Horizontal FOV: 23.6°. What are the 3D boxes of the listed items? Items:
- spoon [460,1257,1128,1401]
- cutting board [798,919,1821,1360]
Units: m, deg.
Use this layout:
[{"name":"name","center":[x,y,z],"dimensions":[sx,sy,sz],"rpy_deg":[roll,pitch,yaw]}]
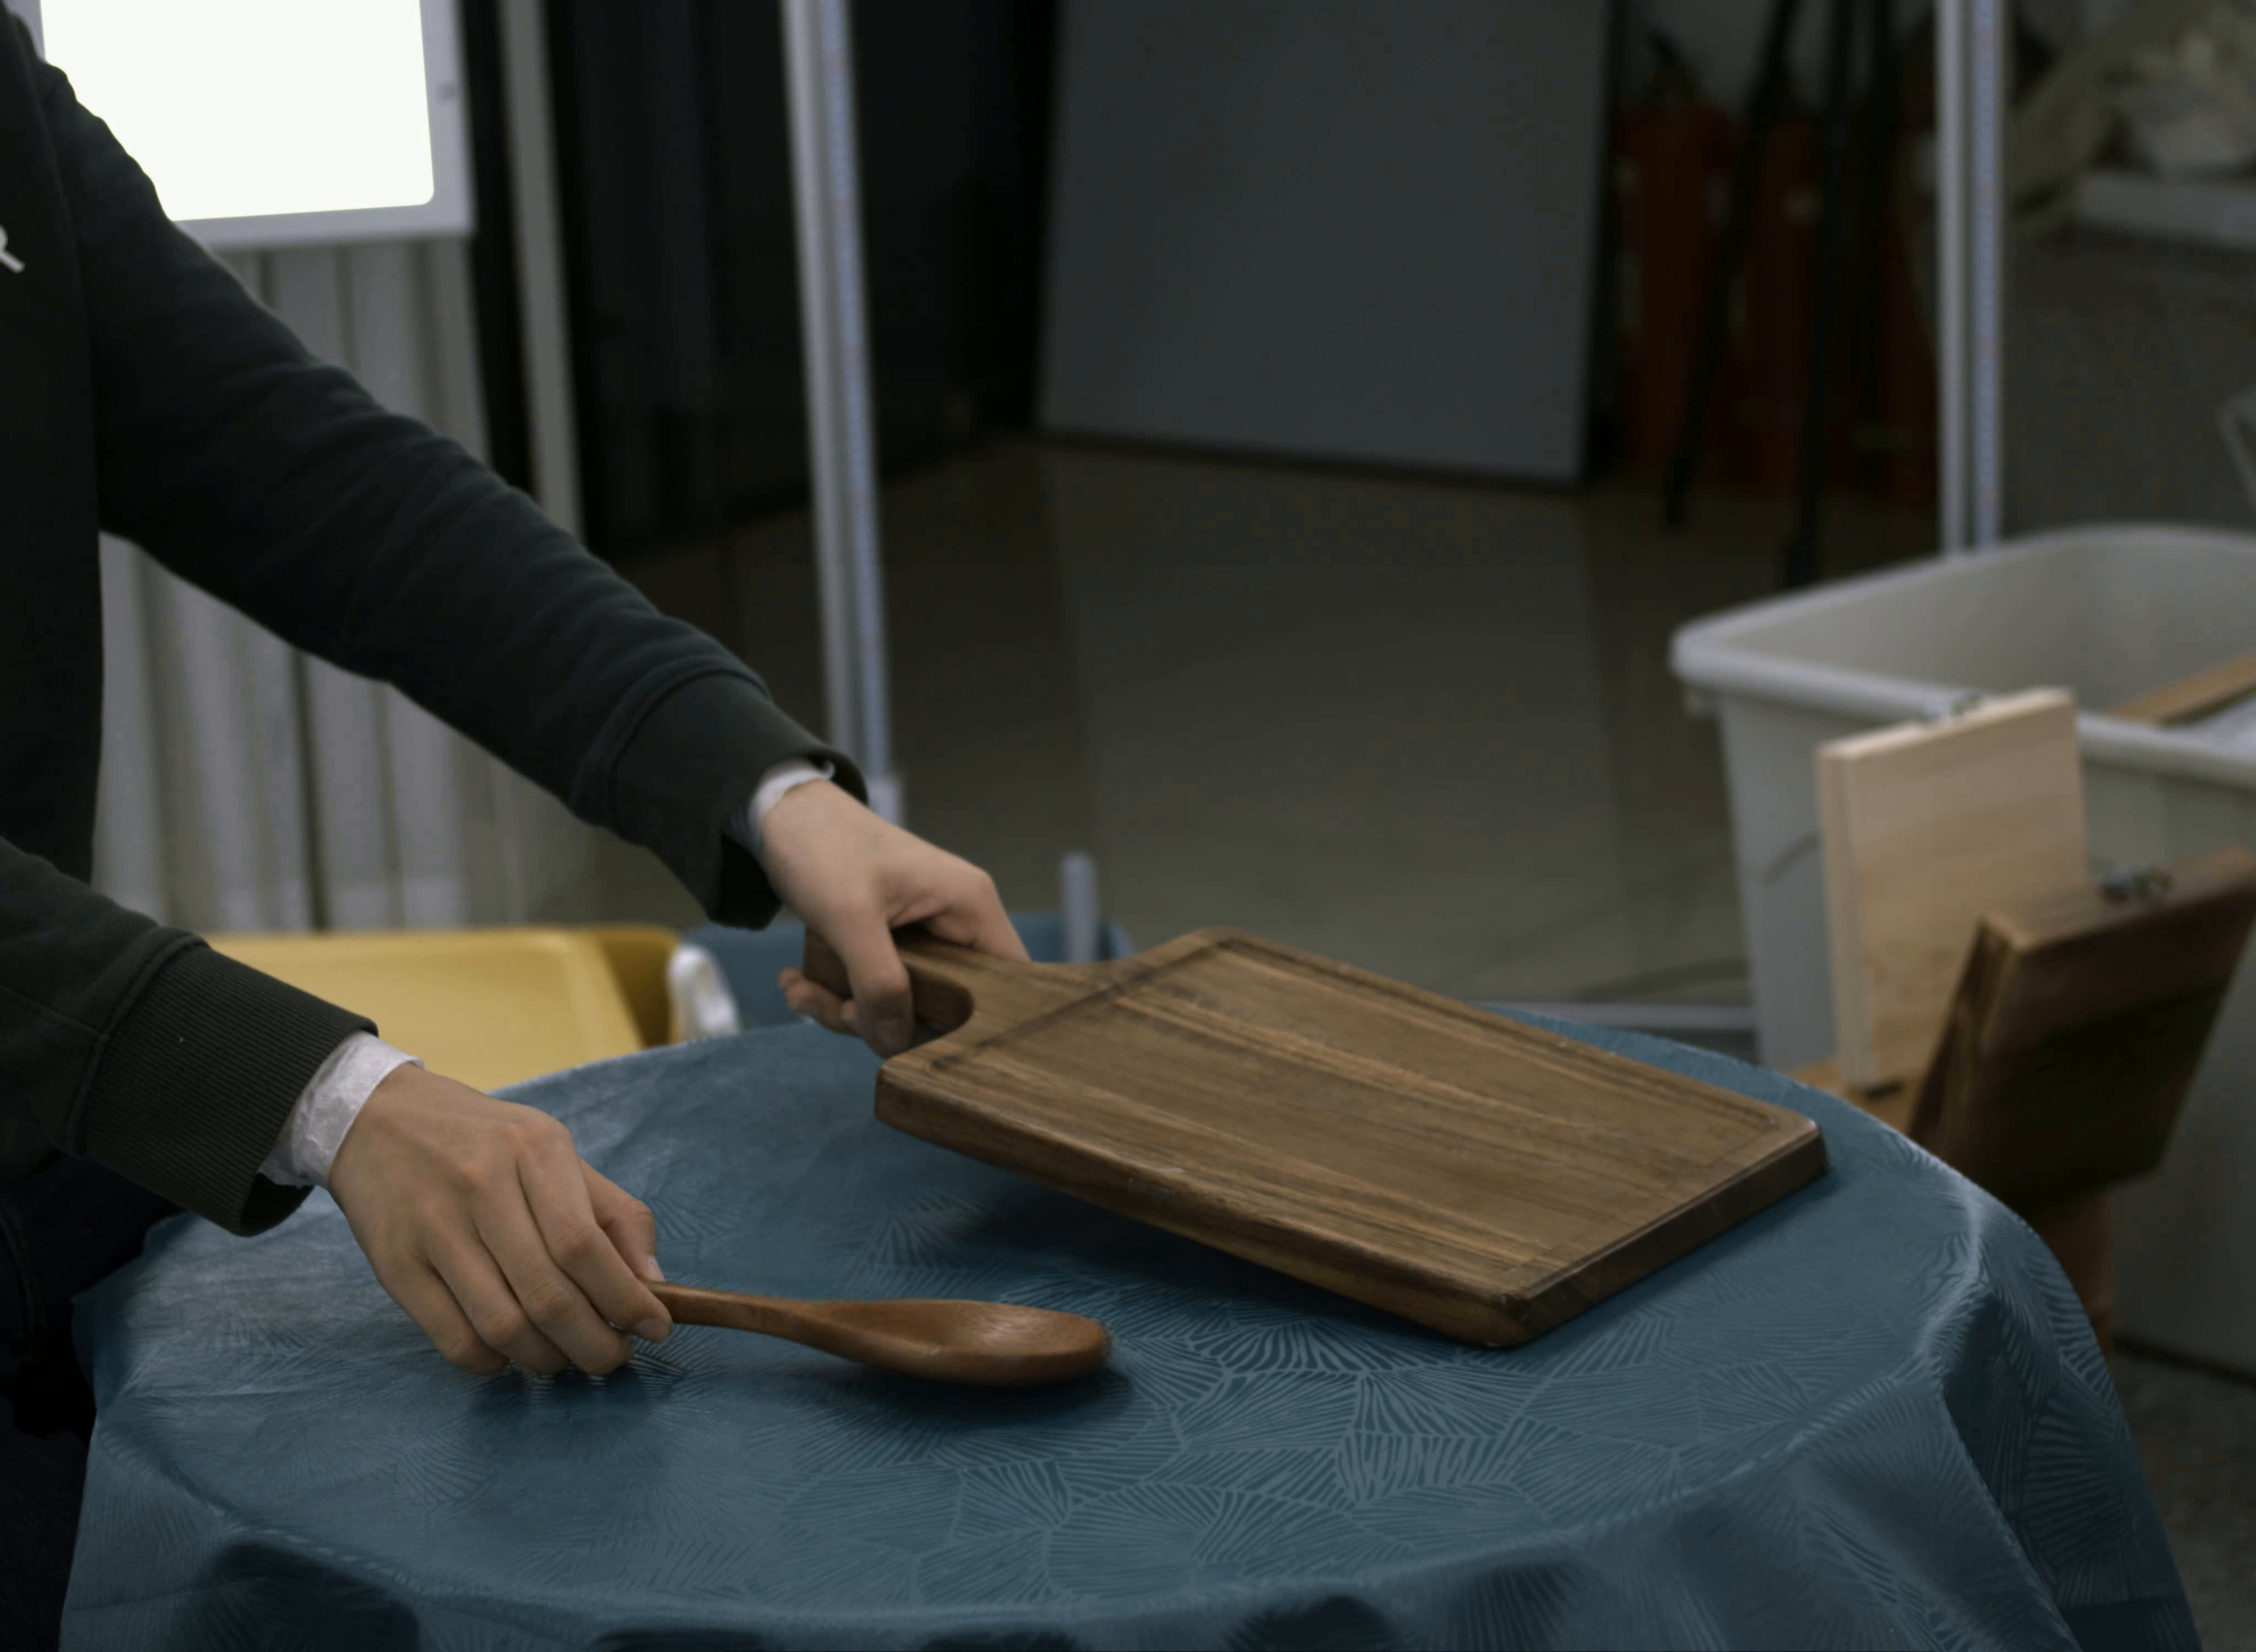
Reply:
[{"name":"spoon","center":[-0.102,0.150,1.621],"dimensions":[0.215,0.017,0.074],"rpy_deg":[6,12,21]},{"name":"cutting board","center":[0.032,0.085,1.761],"dimensions":[0.354,0.023,0.197],"rpy_deg":[17,24,34]}]
